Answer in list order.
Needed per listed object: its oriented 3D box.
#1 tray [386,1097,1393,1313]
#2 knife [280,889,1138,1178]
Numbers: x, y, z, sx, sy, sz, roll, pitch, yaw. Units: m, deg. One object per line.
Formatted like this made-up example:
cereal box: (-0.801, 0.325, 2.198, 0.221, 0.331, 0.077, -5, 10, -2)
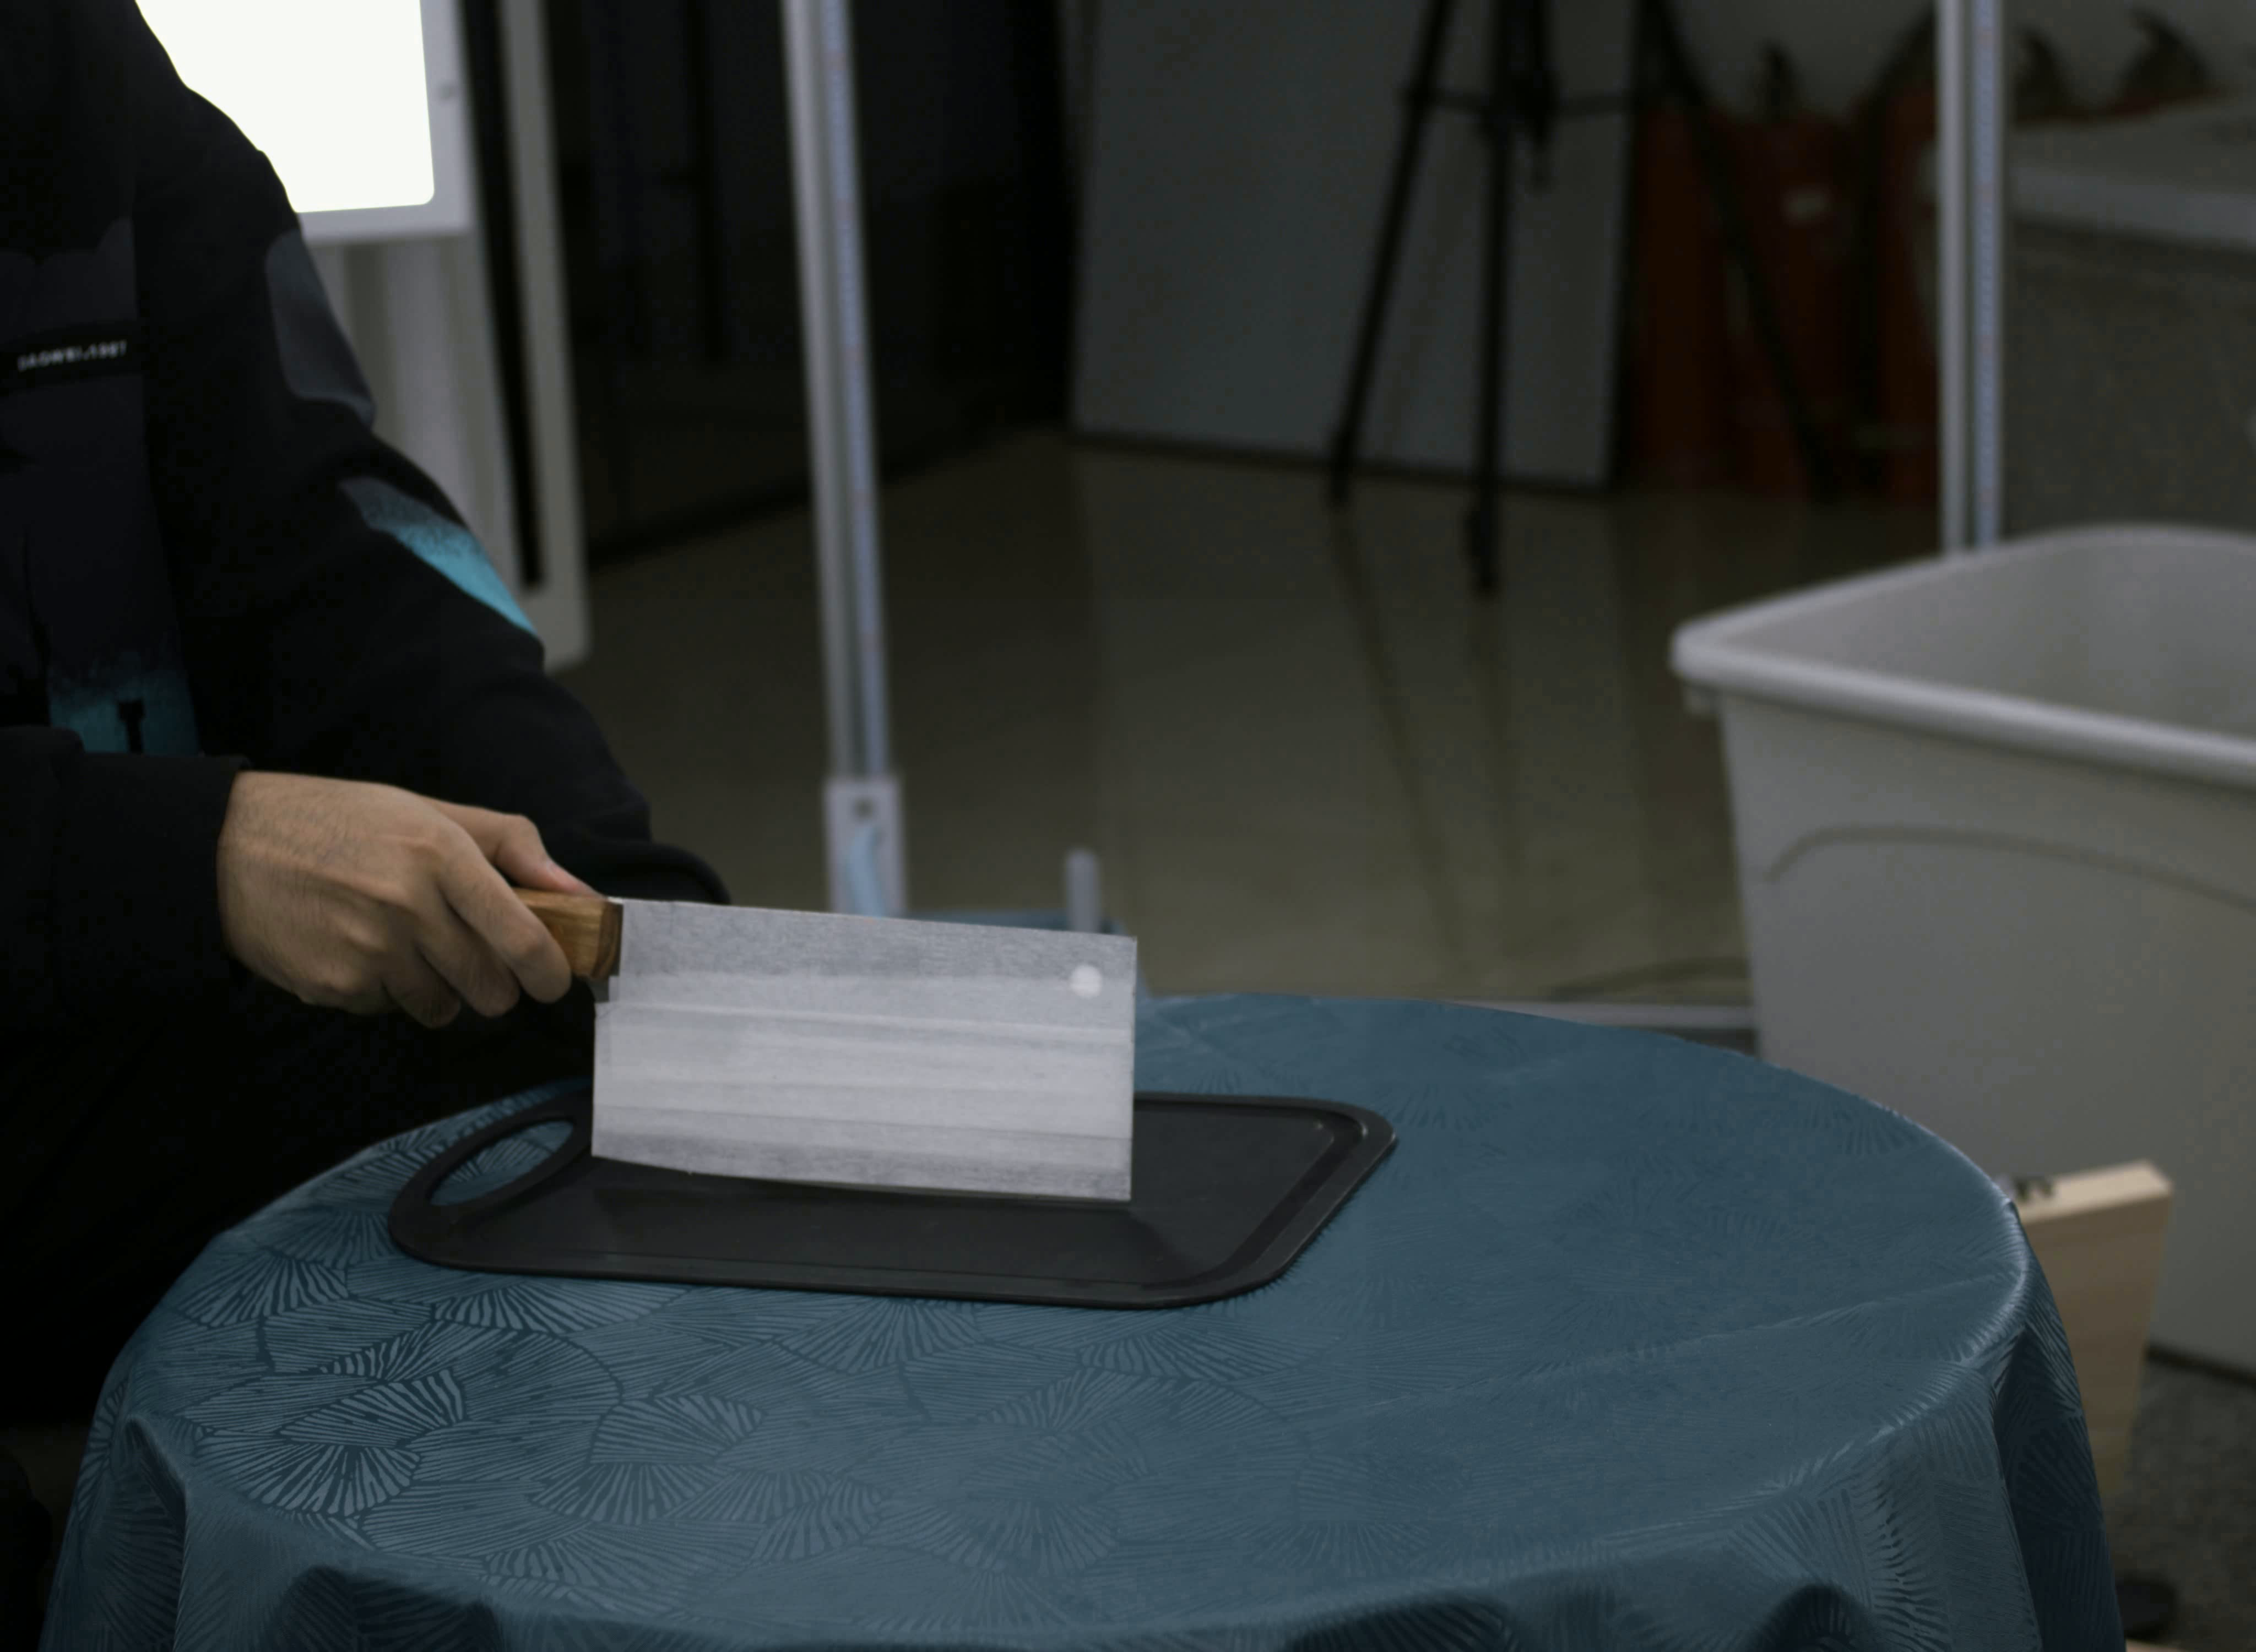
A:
tray: (-0.084, 0.119, 1.792, 0.325, 0.010, 0.209, 1, 15, 21)
knife: (-0.141, 0.070, 1.788, 0.305, 0.094, 0.021, 3, 8, 18)
